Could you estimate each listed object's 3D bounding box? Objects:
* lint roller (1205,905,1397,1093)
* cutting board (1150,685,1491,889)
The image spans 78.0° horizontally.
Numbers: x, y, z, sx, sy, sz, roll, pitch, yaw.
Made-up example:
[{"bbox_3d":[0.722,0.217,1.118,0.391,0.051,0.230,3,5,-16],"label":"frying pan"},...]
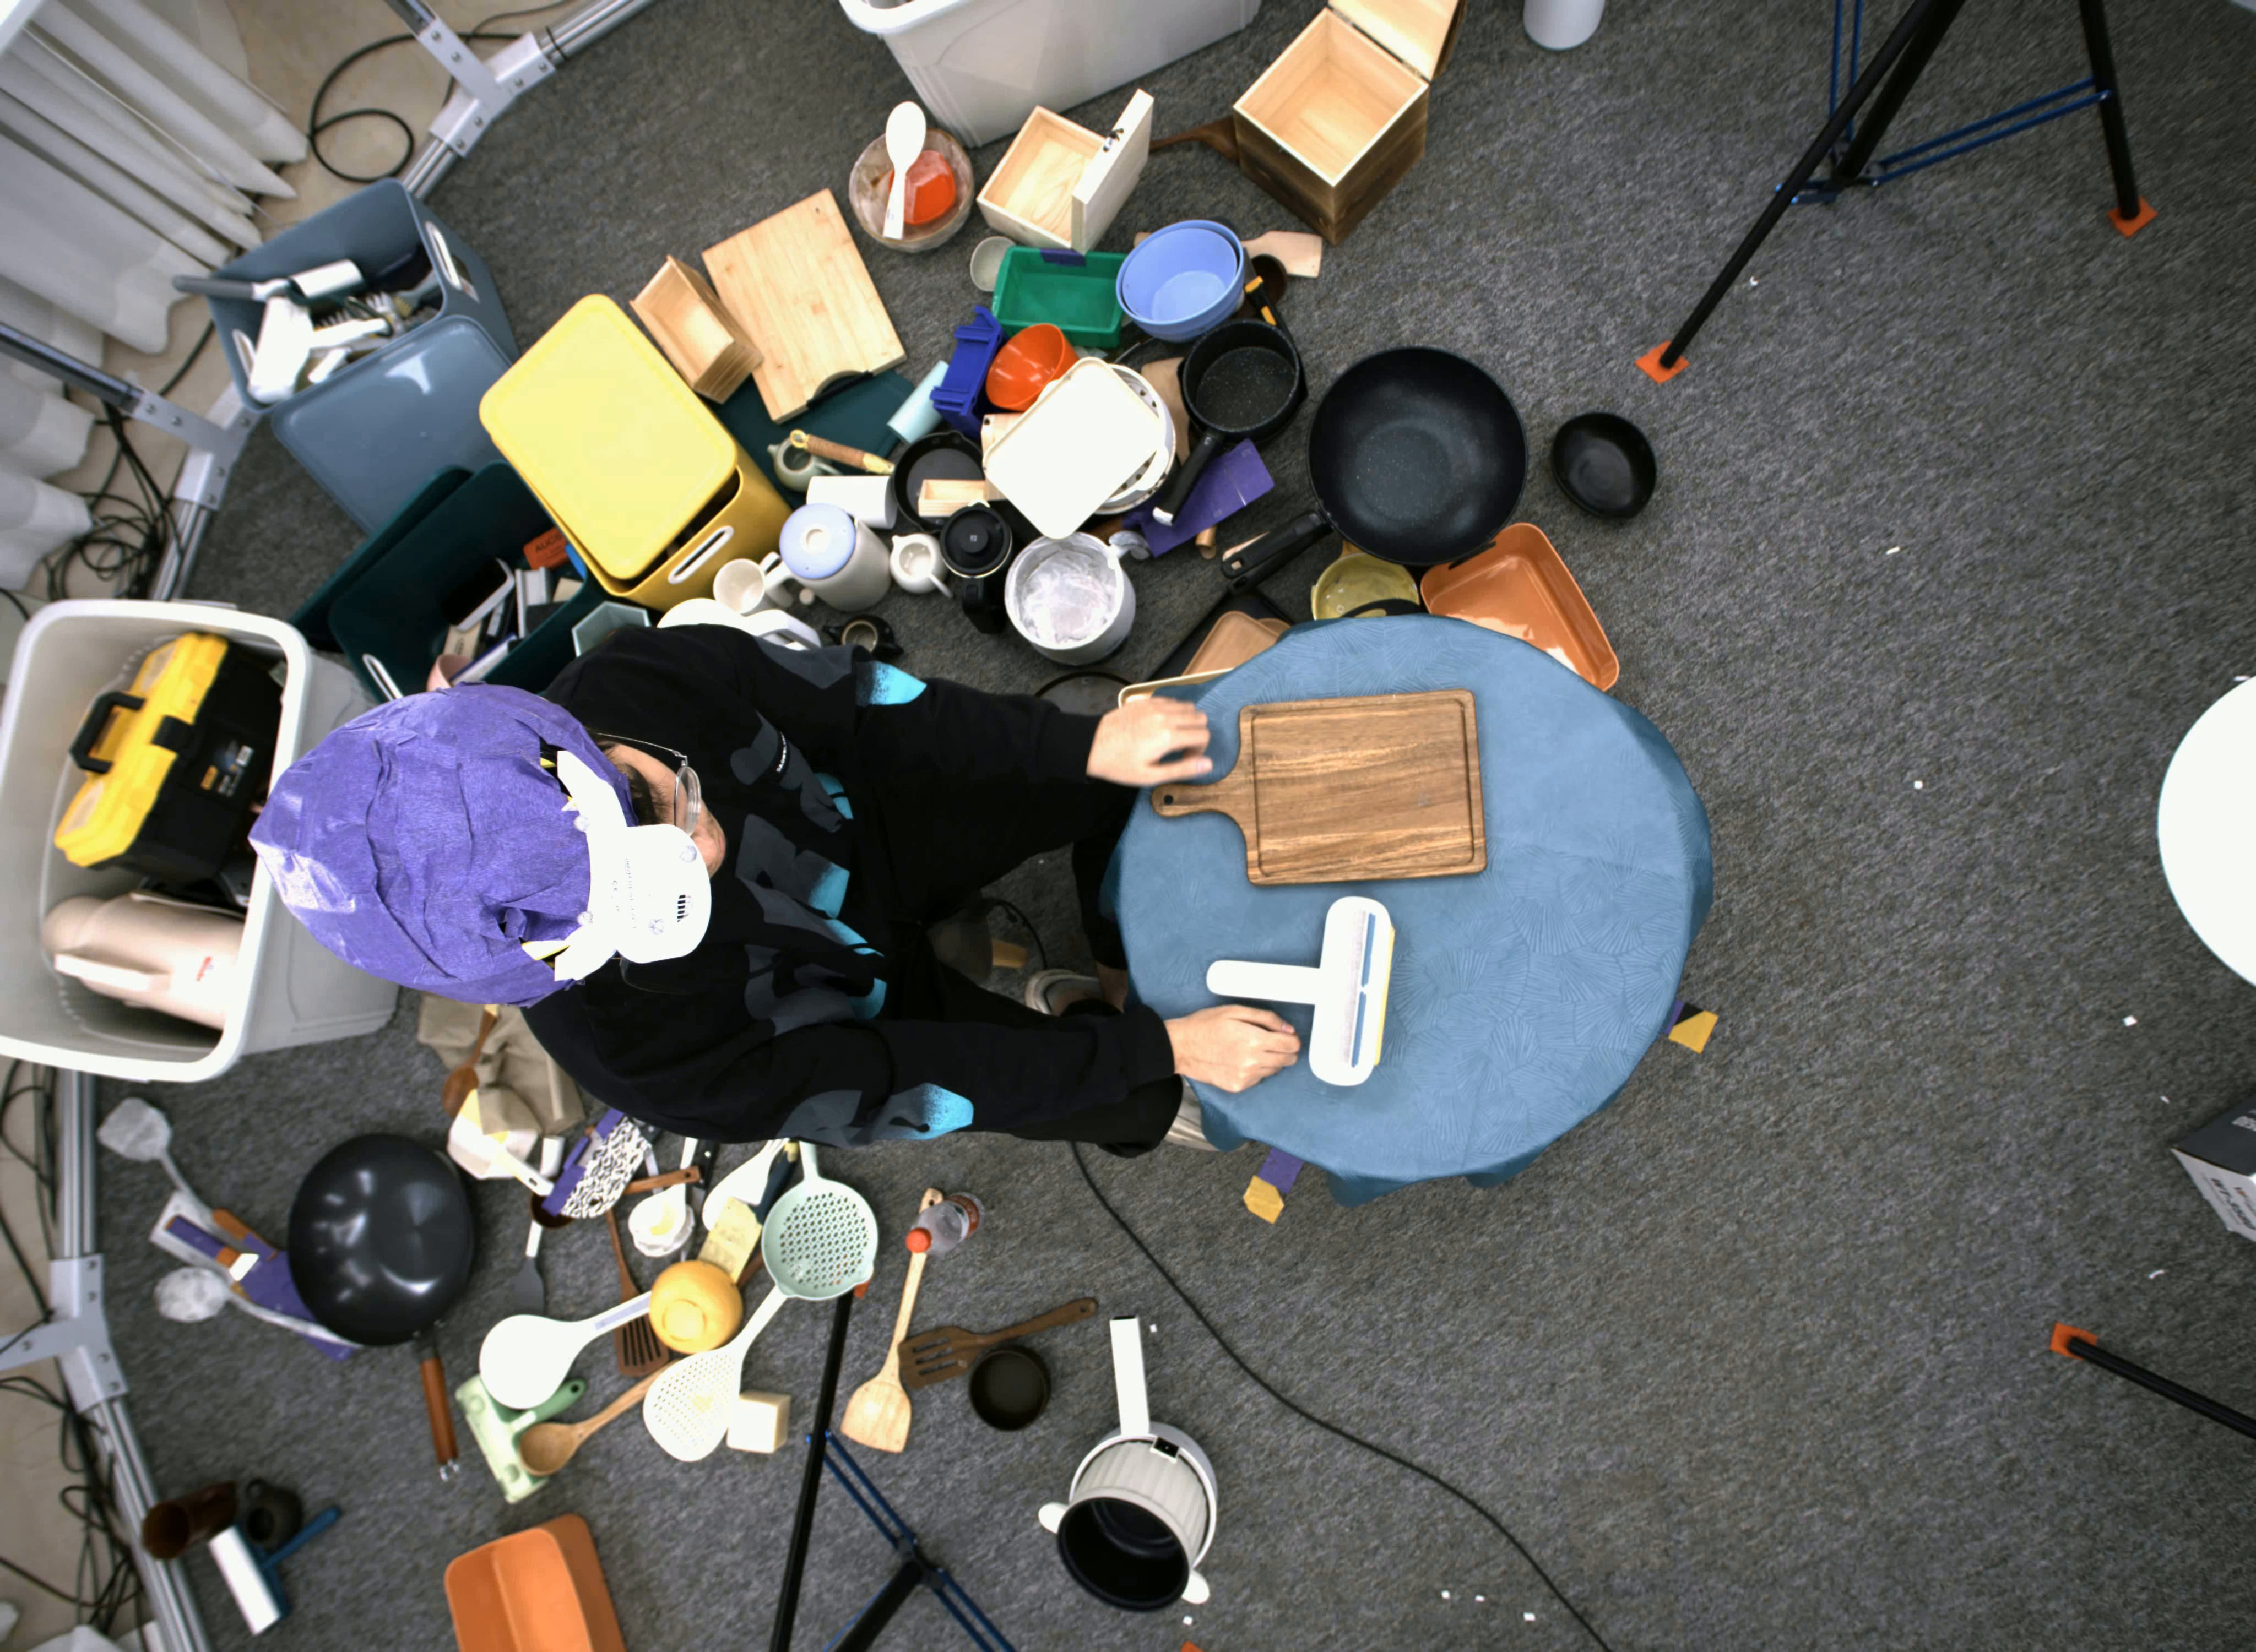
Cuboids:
[{"bbox_3d":[0.171,0.166,1.435,0.193,0.074,0.191,10,83,12],"label":"lint roller"},{"bbox_3d":[0.198,-0.038,1.464,0.354,0.023,0.200,-4,87,10],"label":"cutting board"}]
